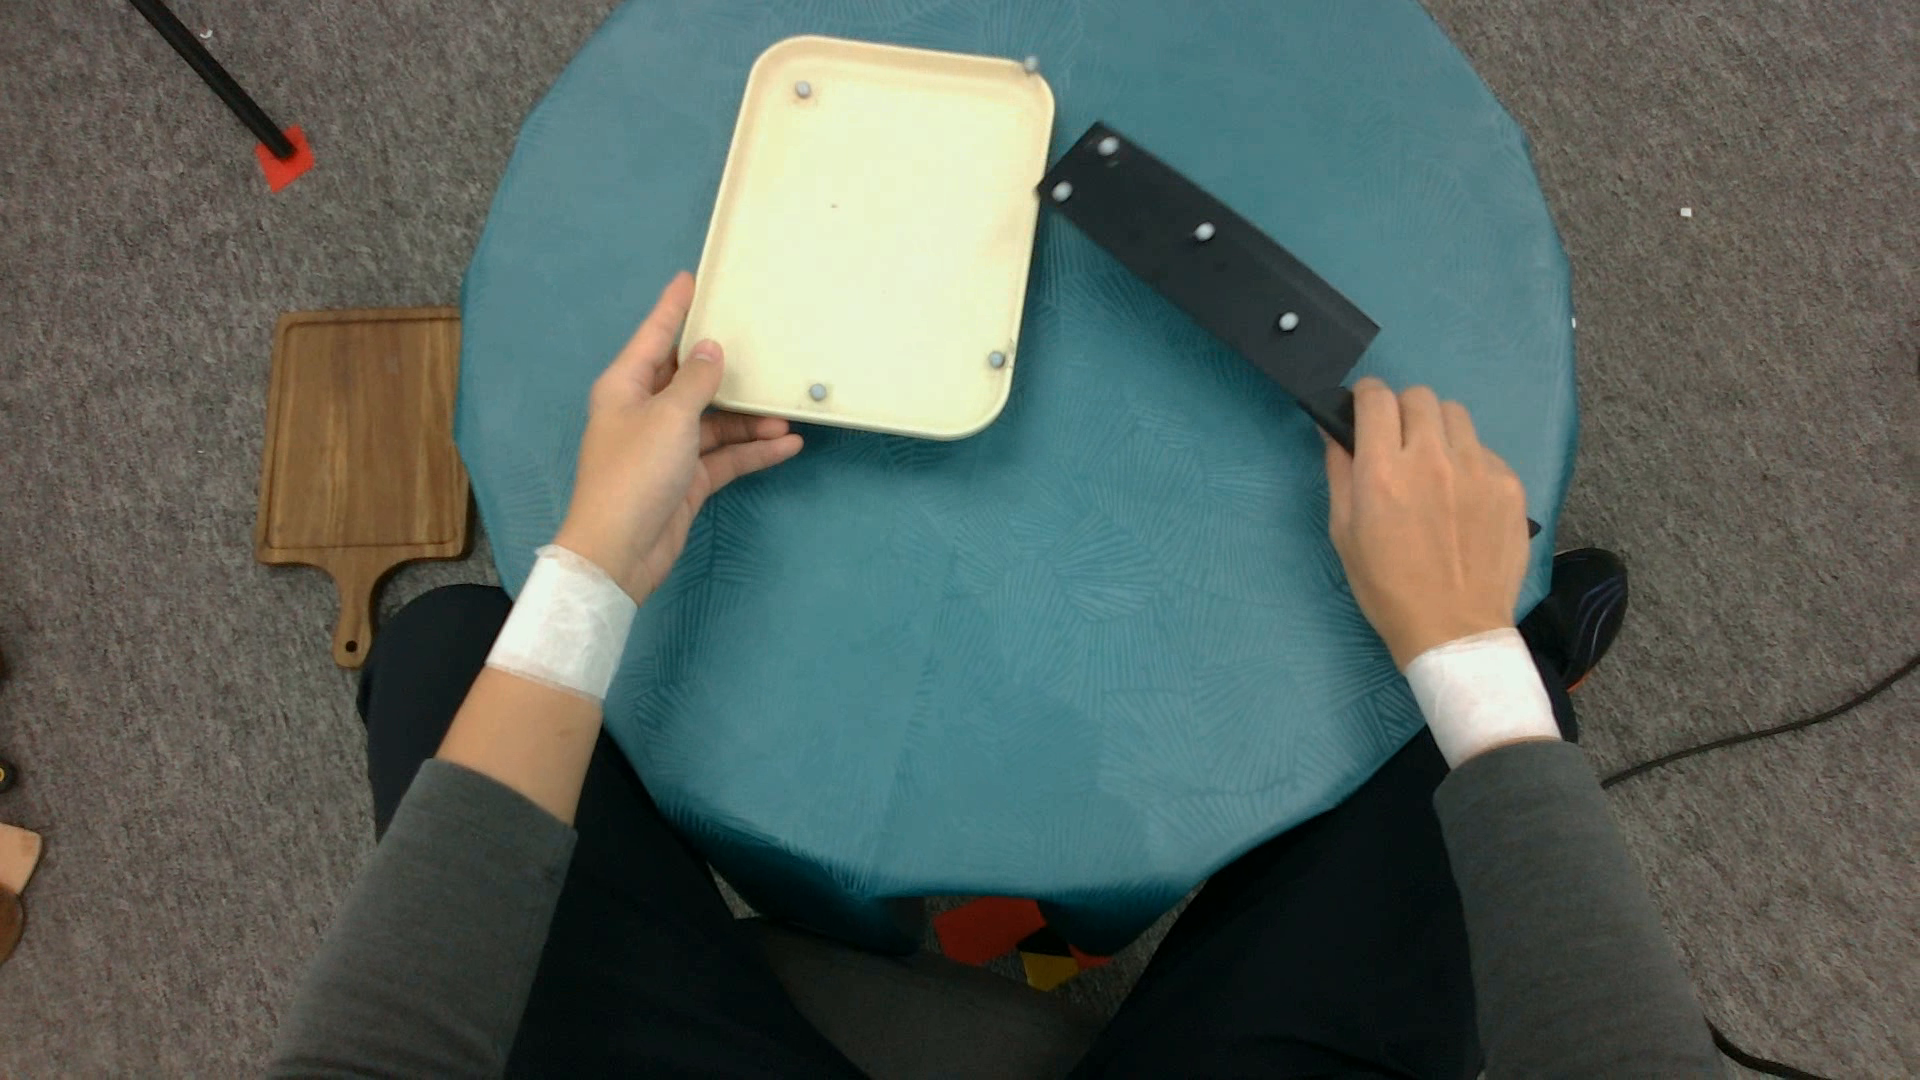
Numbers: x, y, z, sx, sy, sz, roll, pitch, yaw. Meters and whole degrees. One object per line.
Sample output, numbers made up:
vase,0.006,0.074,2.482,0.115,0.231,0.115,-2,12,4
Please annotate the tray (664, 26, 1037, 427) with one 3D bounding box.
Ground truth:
tray,-0.053,-0.171,0.731,0.171,0.017,0.240,8,67,3

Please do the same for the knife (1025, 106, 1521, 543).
knife,0.162,-0.108,0.695,0.302,0.021,0.081,44,70,4
